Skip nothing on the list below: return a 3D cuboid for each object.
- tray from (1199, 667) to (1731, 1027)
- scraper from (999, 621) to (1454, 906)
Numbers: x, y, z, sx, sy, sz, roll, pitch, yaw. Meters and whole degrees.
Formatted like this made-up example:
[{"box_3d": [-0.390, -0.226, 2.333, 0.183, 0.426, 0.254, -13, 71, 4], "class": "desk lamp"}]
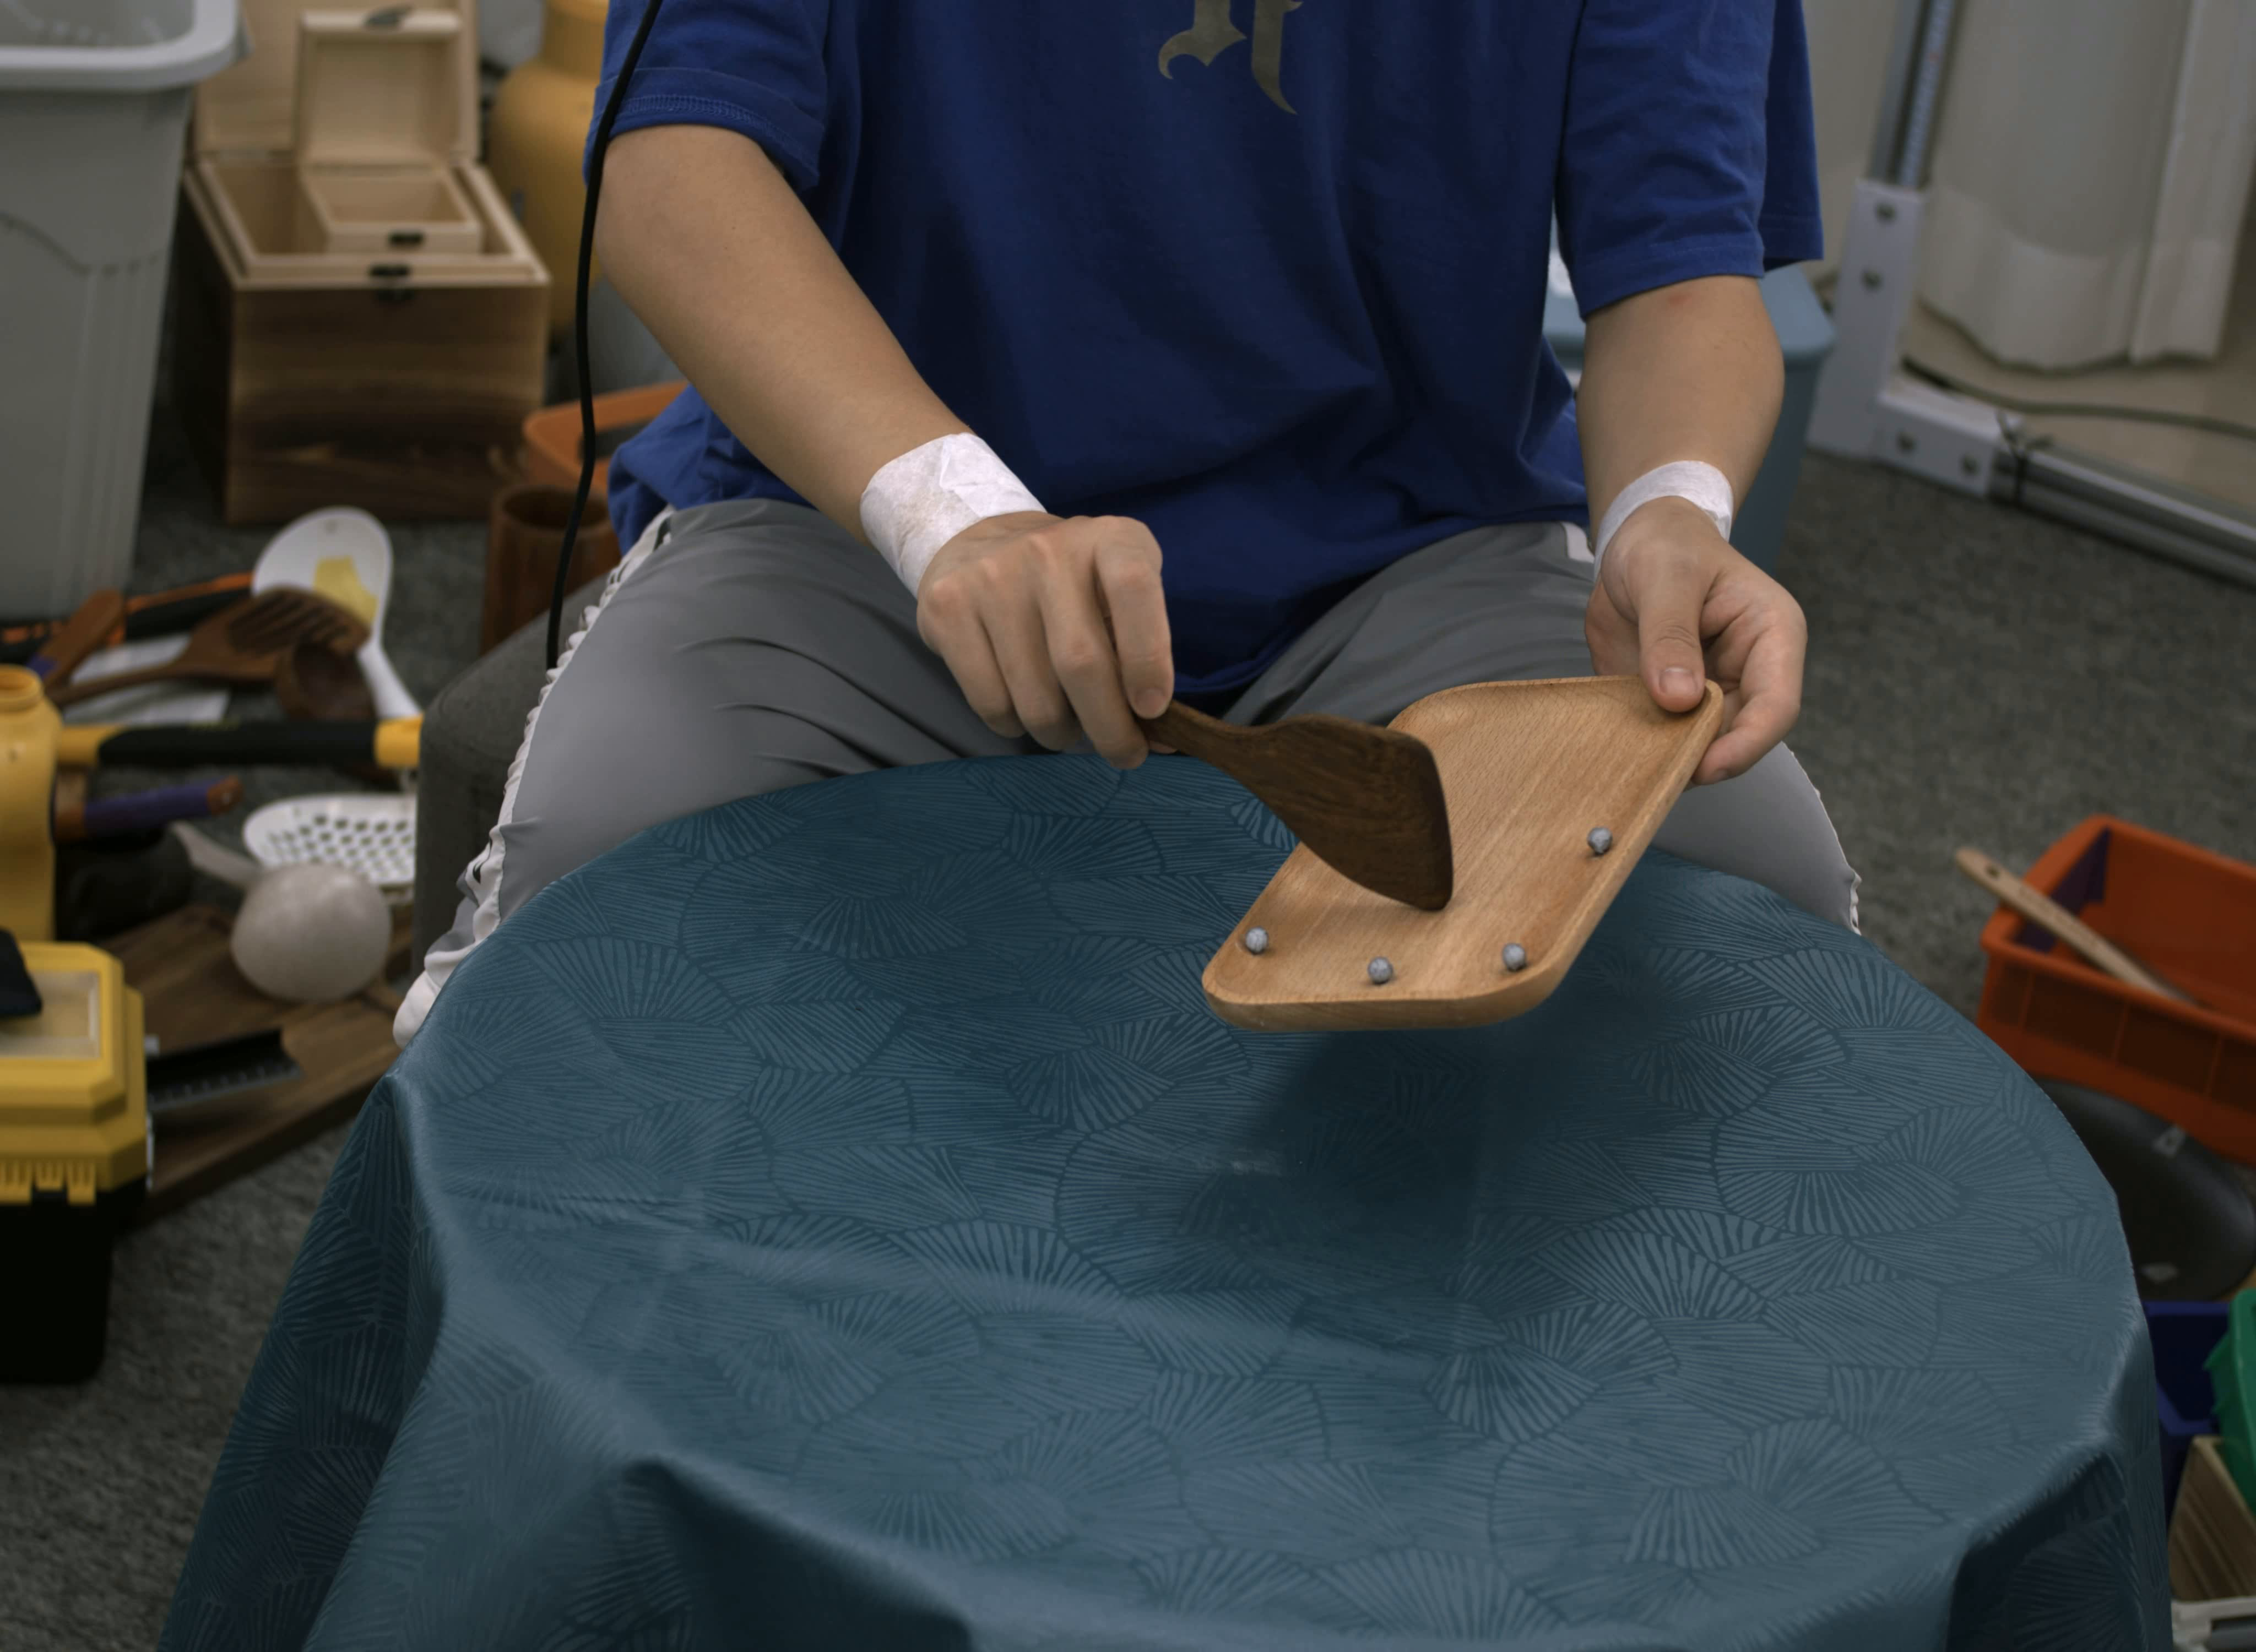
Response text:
[{"box_3d": [0.120, 0.006, 1.843, 0.131, 0.023, 0.251, 0, 26, 25], "class": "tray"}, {"box_3d": [0.030, -0.031, 1.844, 0.213, 0.075, 0.011, 24, 48, 40], "class": "scraper"}]
